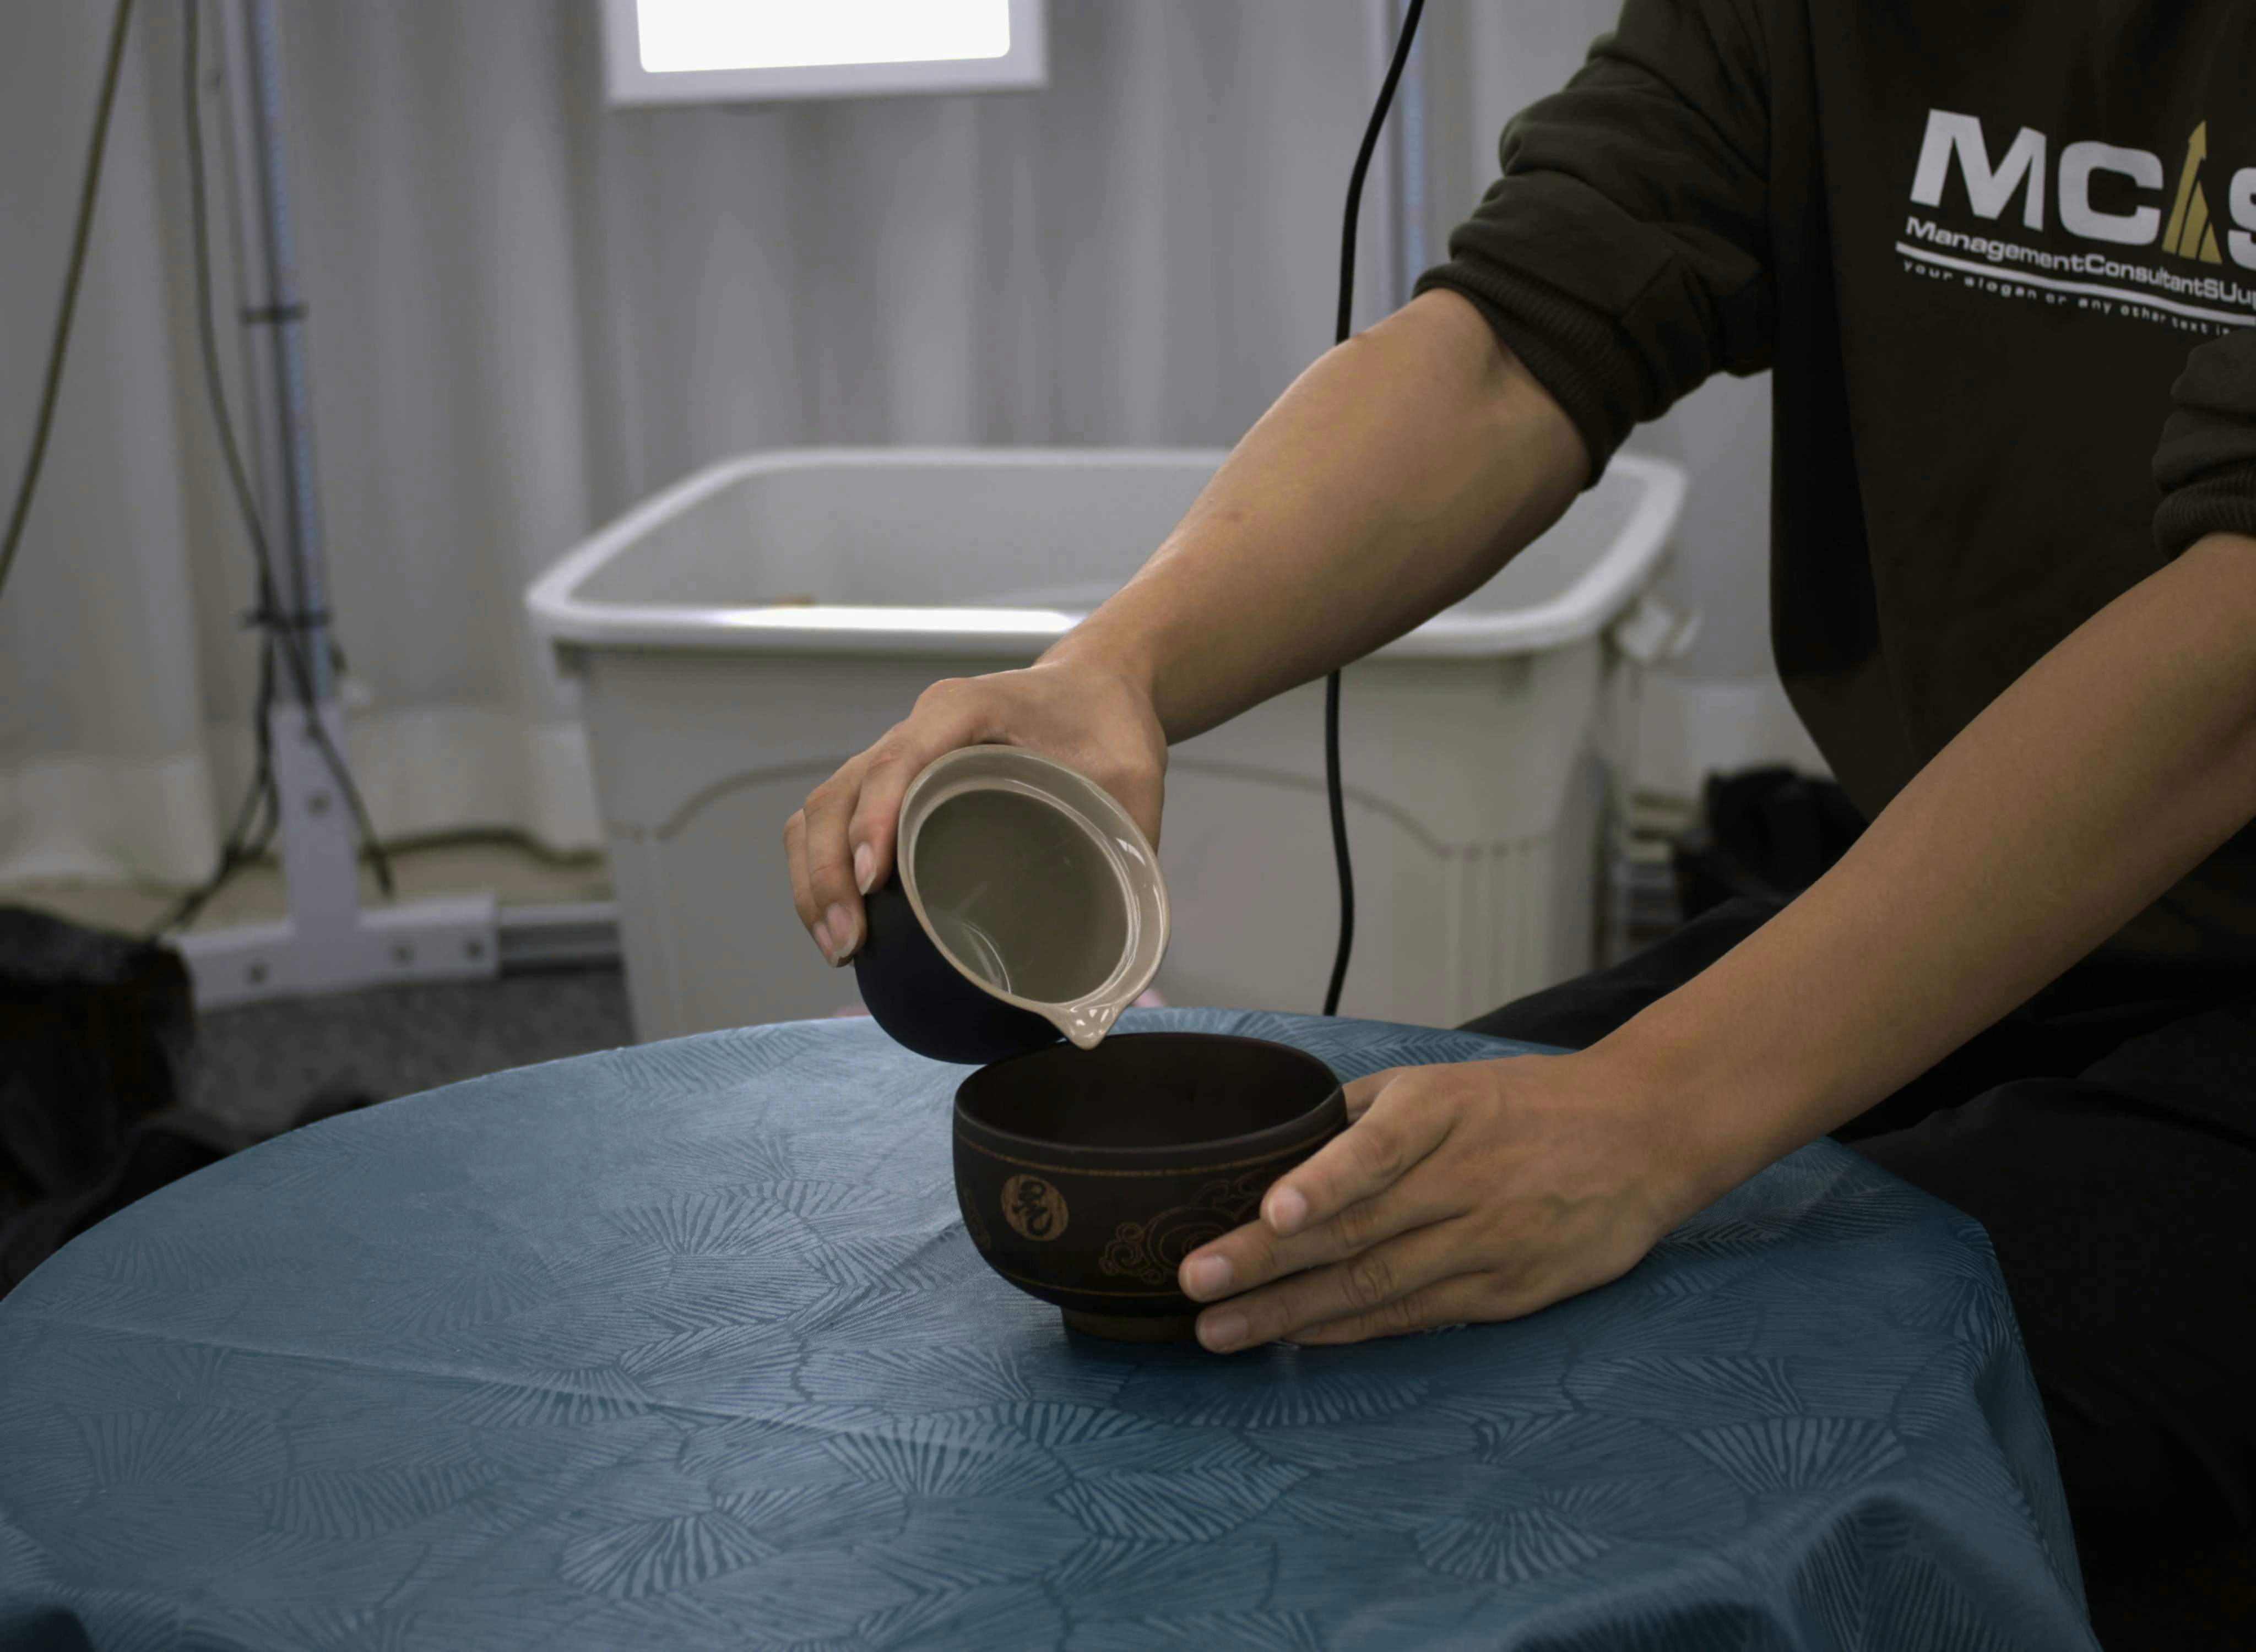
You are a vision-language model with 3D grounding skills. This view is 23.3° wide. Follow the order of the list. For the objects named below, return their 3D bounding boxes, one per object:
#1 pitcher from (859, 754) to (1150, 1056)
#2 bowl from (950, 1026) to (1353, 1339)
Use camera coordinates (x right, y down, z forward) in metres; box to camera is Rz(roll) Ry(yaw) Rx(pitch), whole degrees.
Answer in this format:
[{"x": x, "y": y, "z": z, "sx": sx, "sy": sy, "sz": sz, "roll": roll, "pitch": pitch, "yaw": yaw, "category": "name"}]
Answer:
[{"x": -0.041, "y": 0.034, "z": 1.657, "sx": 0.083, "sy": 0.097, "sz": 0.071, "roll": 4, "pitch": -32, "yaw": -33, "category": "pitcher"}, {"x": 0.008, "y": 0.109, "z": 1.605, "sx": 0.117, "sy": 0.069, "sz": 0.119, "roll": -6, "pitch": 15, "yaw": 1, "category": "bowl"}]
